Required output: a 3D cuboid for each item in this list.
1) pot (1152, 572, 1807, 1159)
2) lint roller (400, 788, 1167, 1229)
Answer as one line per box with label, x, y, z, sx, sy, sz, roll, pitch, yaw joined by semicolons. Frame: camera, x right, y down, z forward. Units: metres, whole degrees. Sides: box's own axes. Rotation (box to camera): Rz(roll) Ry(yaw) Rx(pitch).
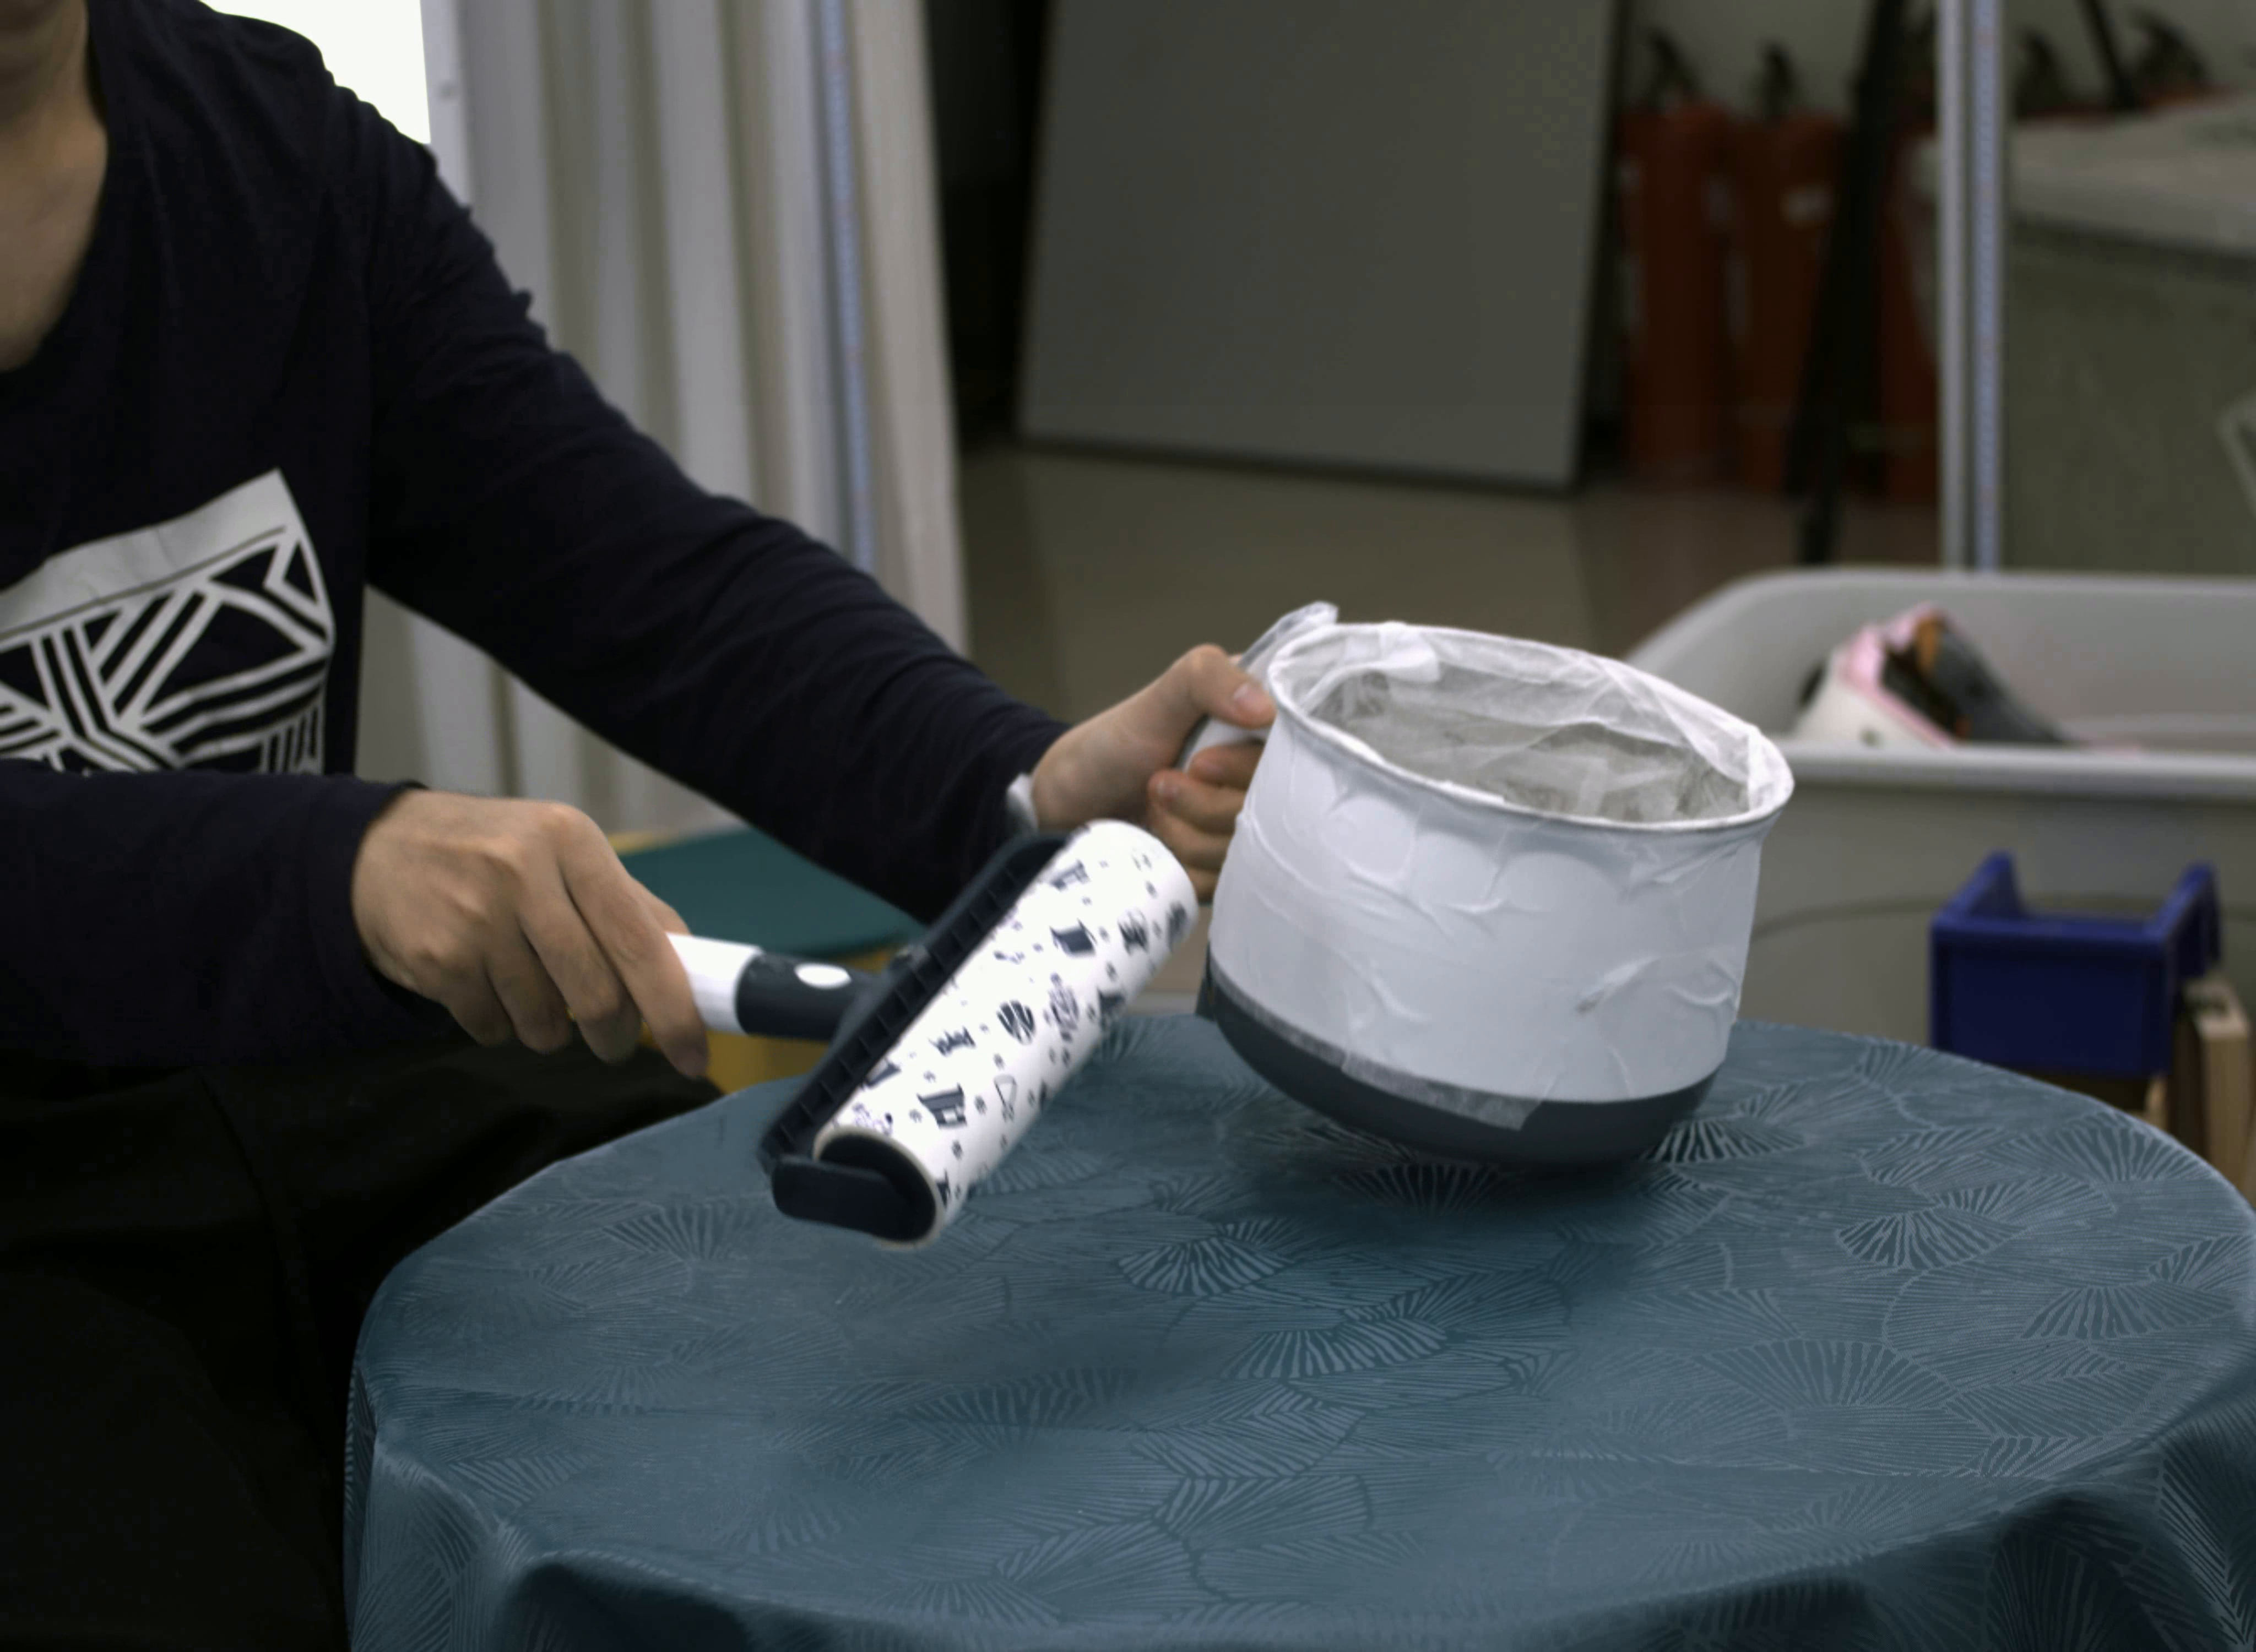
pot;0.102;0.007;1.790;0.175;0.138;0.236;-3;26;-45
lint roller;-0.128;0.045;1.680;0.248;0.050;0.175;6;39;30
